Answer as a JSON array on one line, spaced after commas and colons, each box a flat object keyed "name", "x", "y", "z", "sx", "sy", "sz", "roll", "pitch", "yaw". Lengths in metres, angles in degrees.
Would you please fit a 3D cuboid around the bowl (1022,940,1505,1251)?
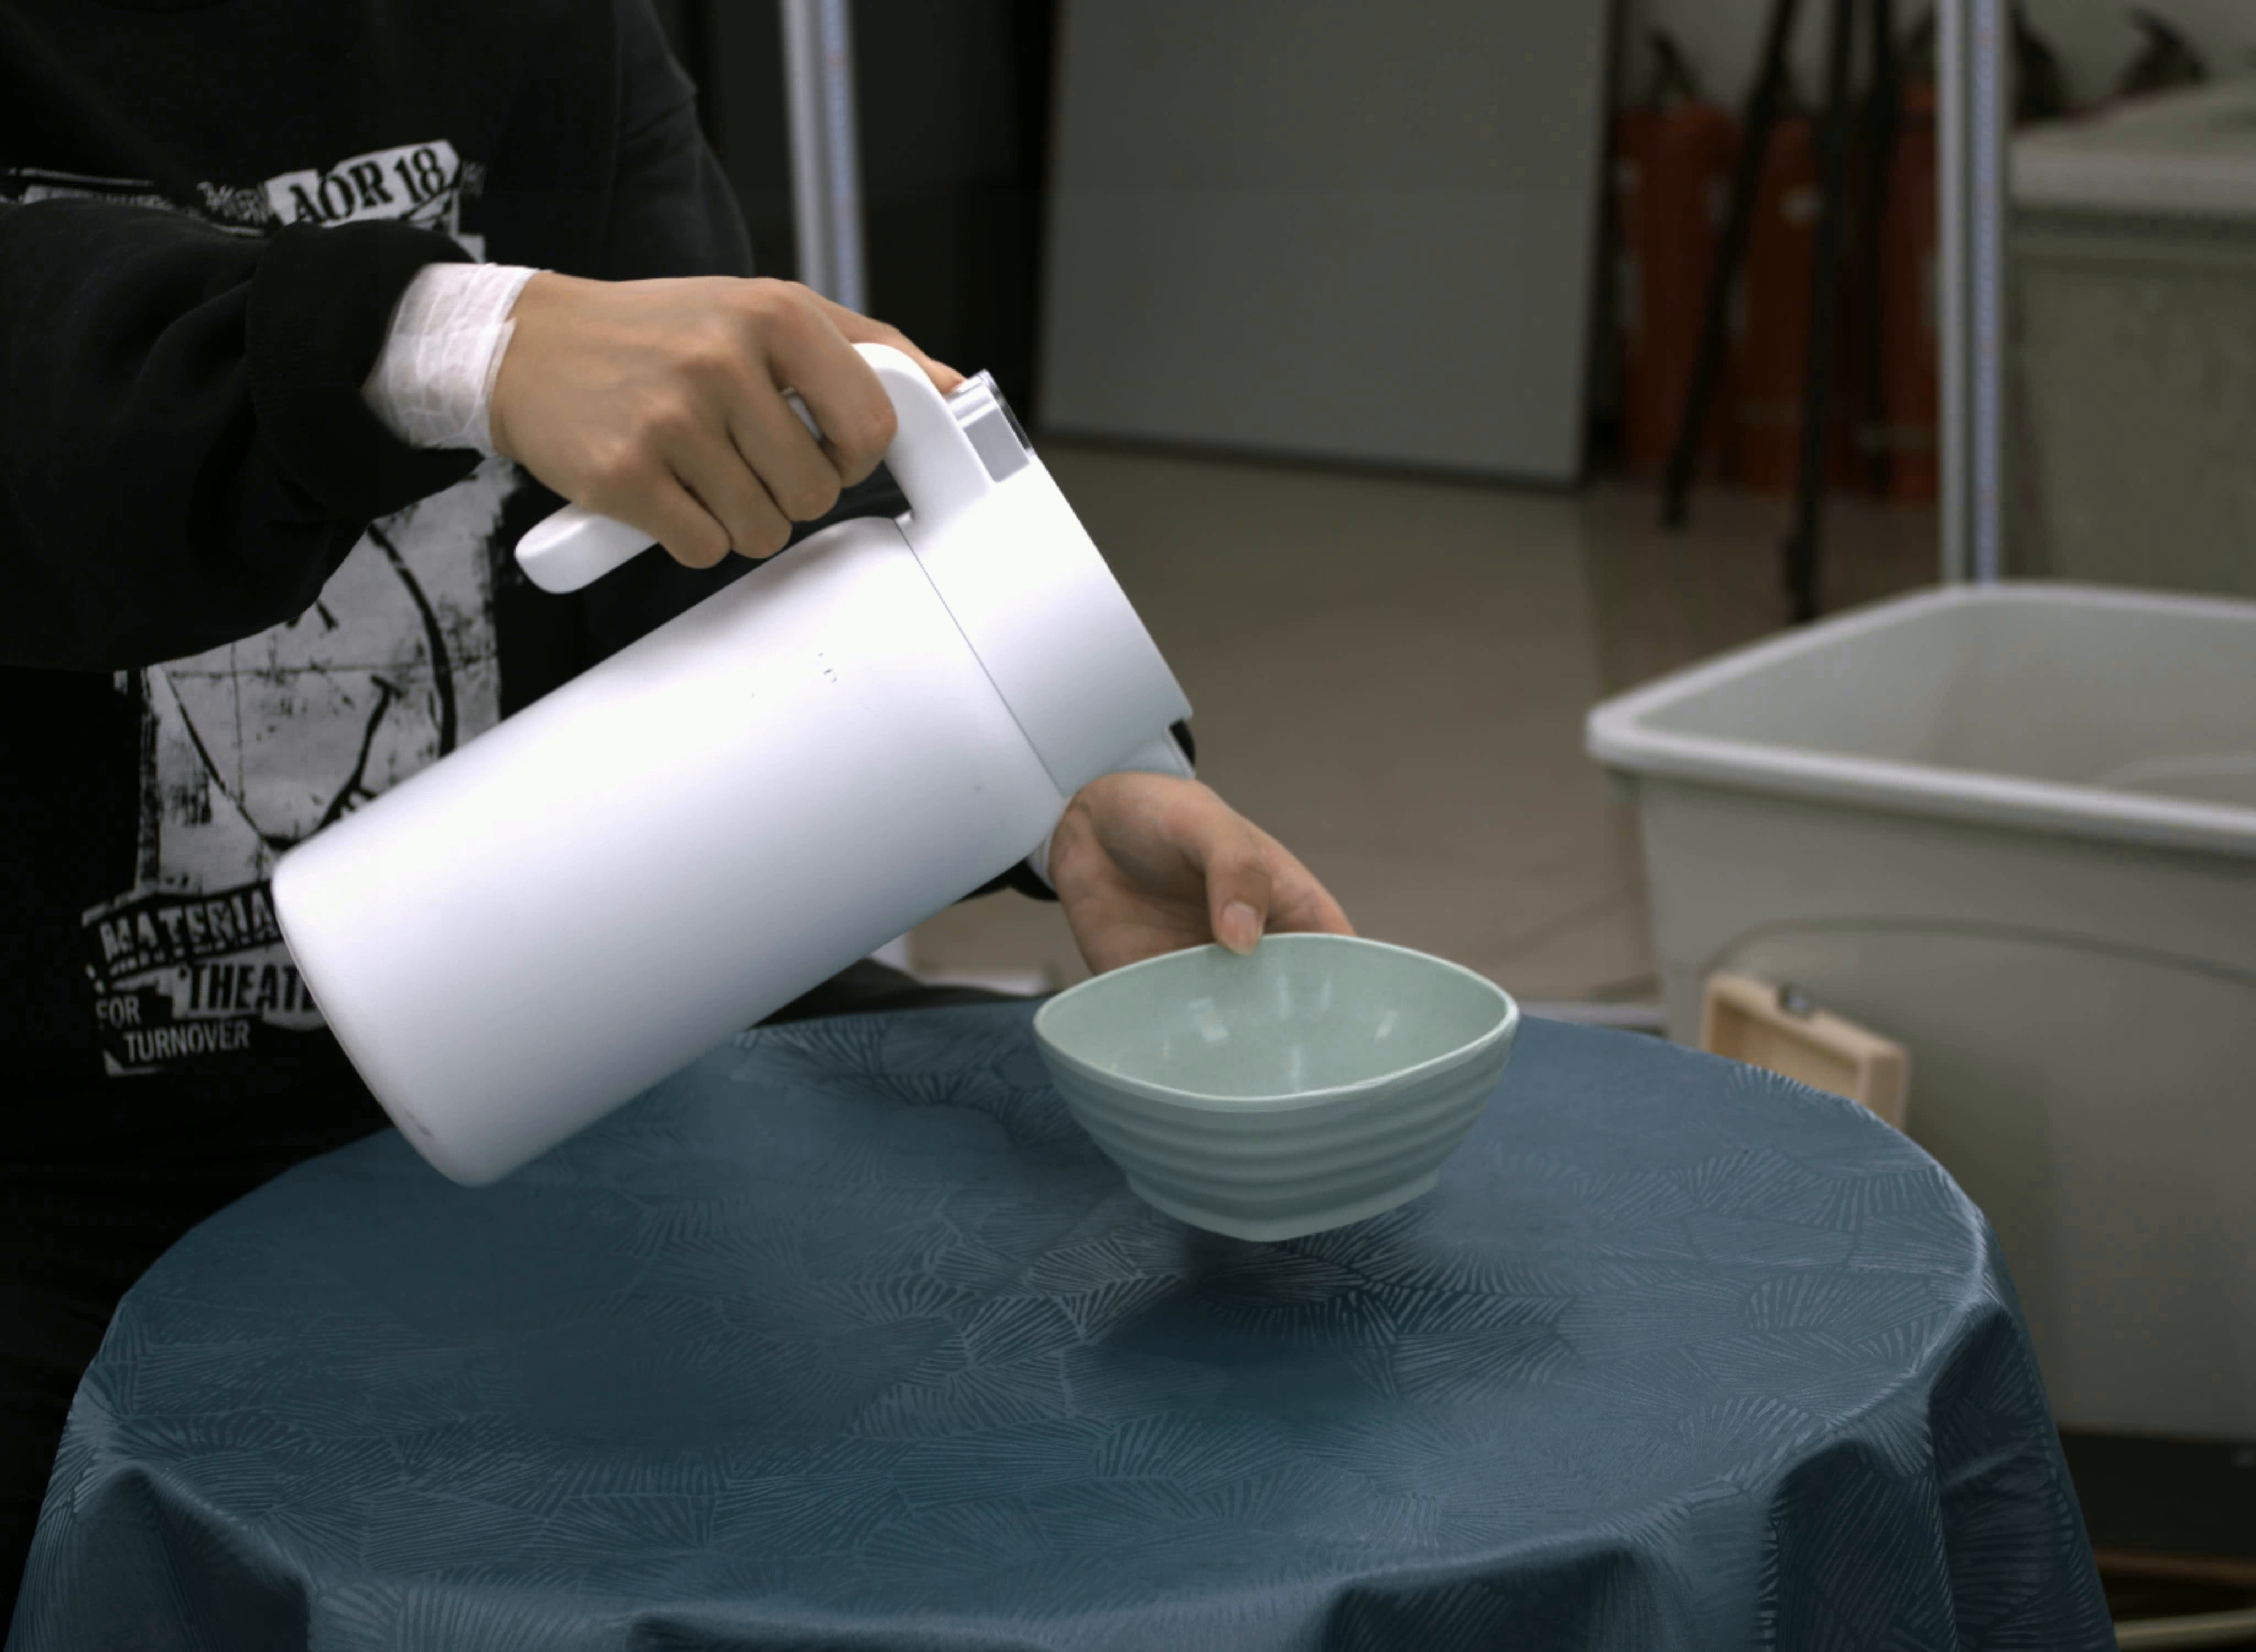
[{"name": "bowl", "x": 0.043, "y": 0.087, "z": 1.665, "sx": 0.149, "sy": 0.059, "sz": 0.152, "roll": -5, "pitch": 17, "yaw": 0}]

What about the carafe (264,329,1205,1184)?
[{"name": "carafe", "x": -0.126, "y": -0.022, "z": 1.608, "sx": 0.267, "sy": 0.173, "sz": 0.124, "roll": -30, "pitch": 21, "yaw": 2}]
